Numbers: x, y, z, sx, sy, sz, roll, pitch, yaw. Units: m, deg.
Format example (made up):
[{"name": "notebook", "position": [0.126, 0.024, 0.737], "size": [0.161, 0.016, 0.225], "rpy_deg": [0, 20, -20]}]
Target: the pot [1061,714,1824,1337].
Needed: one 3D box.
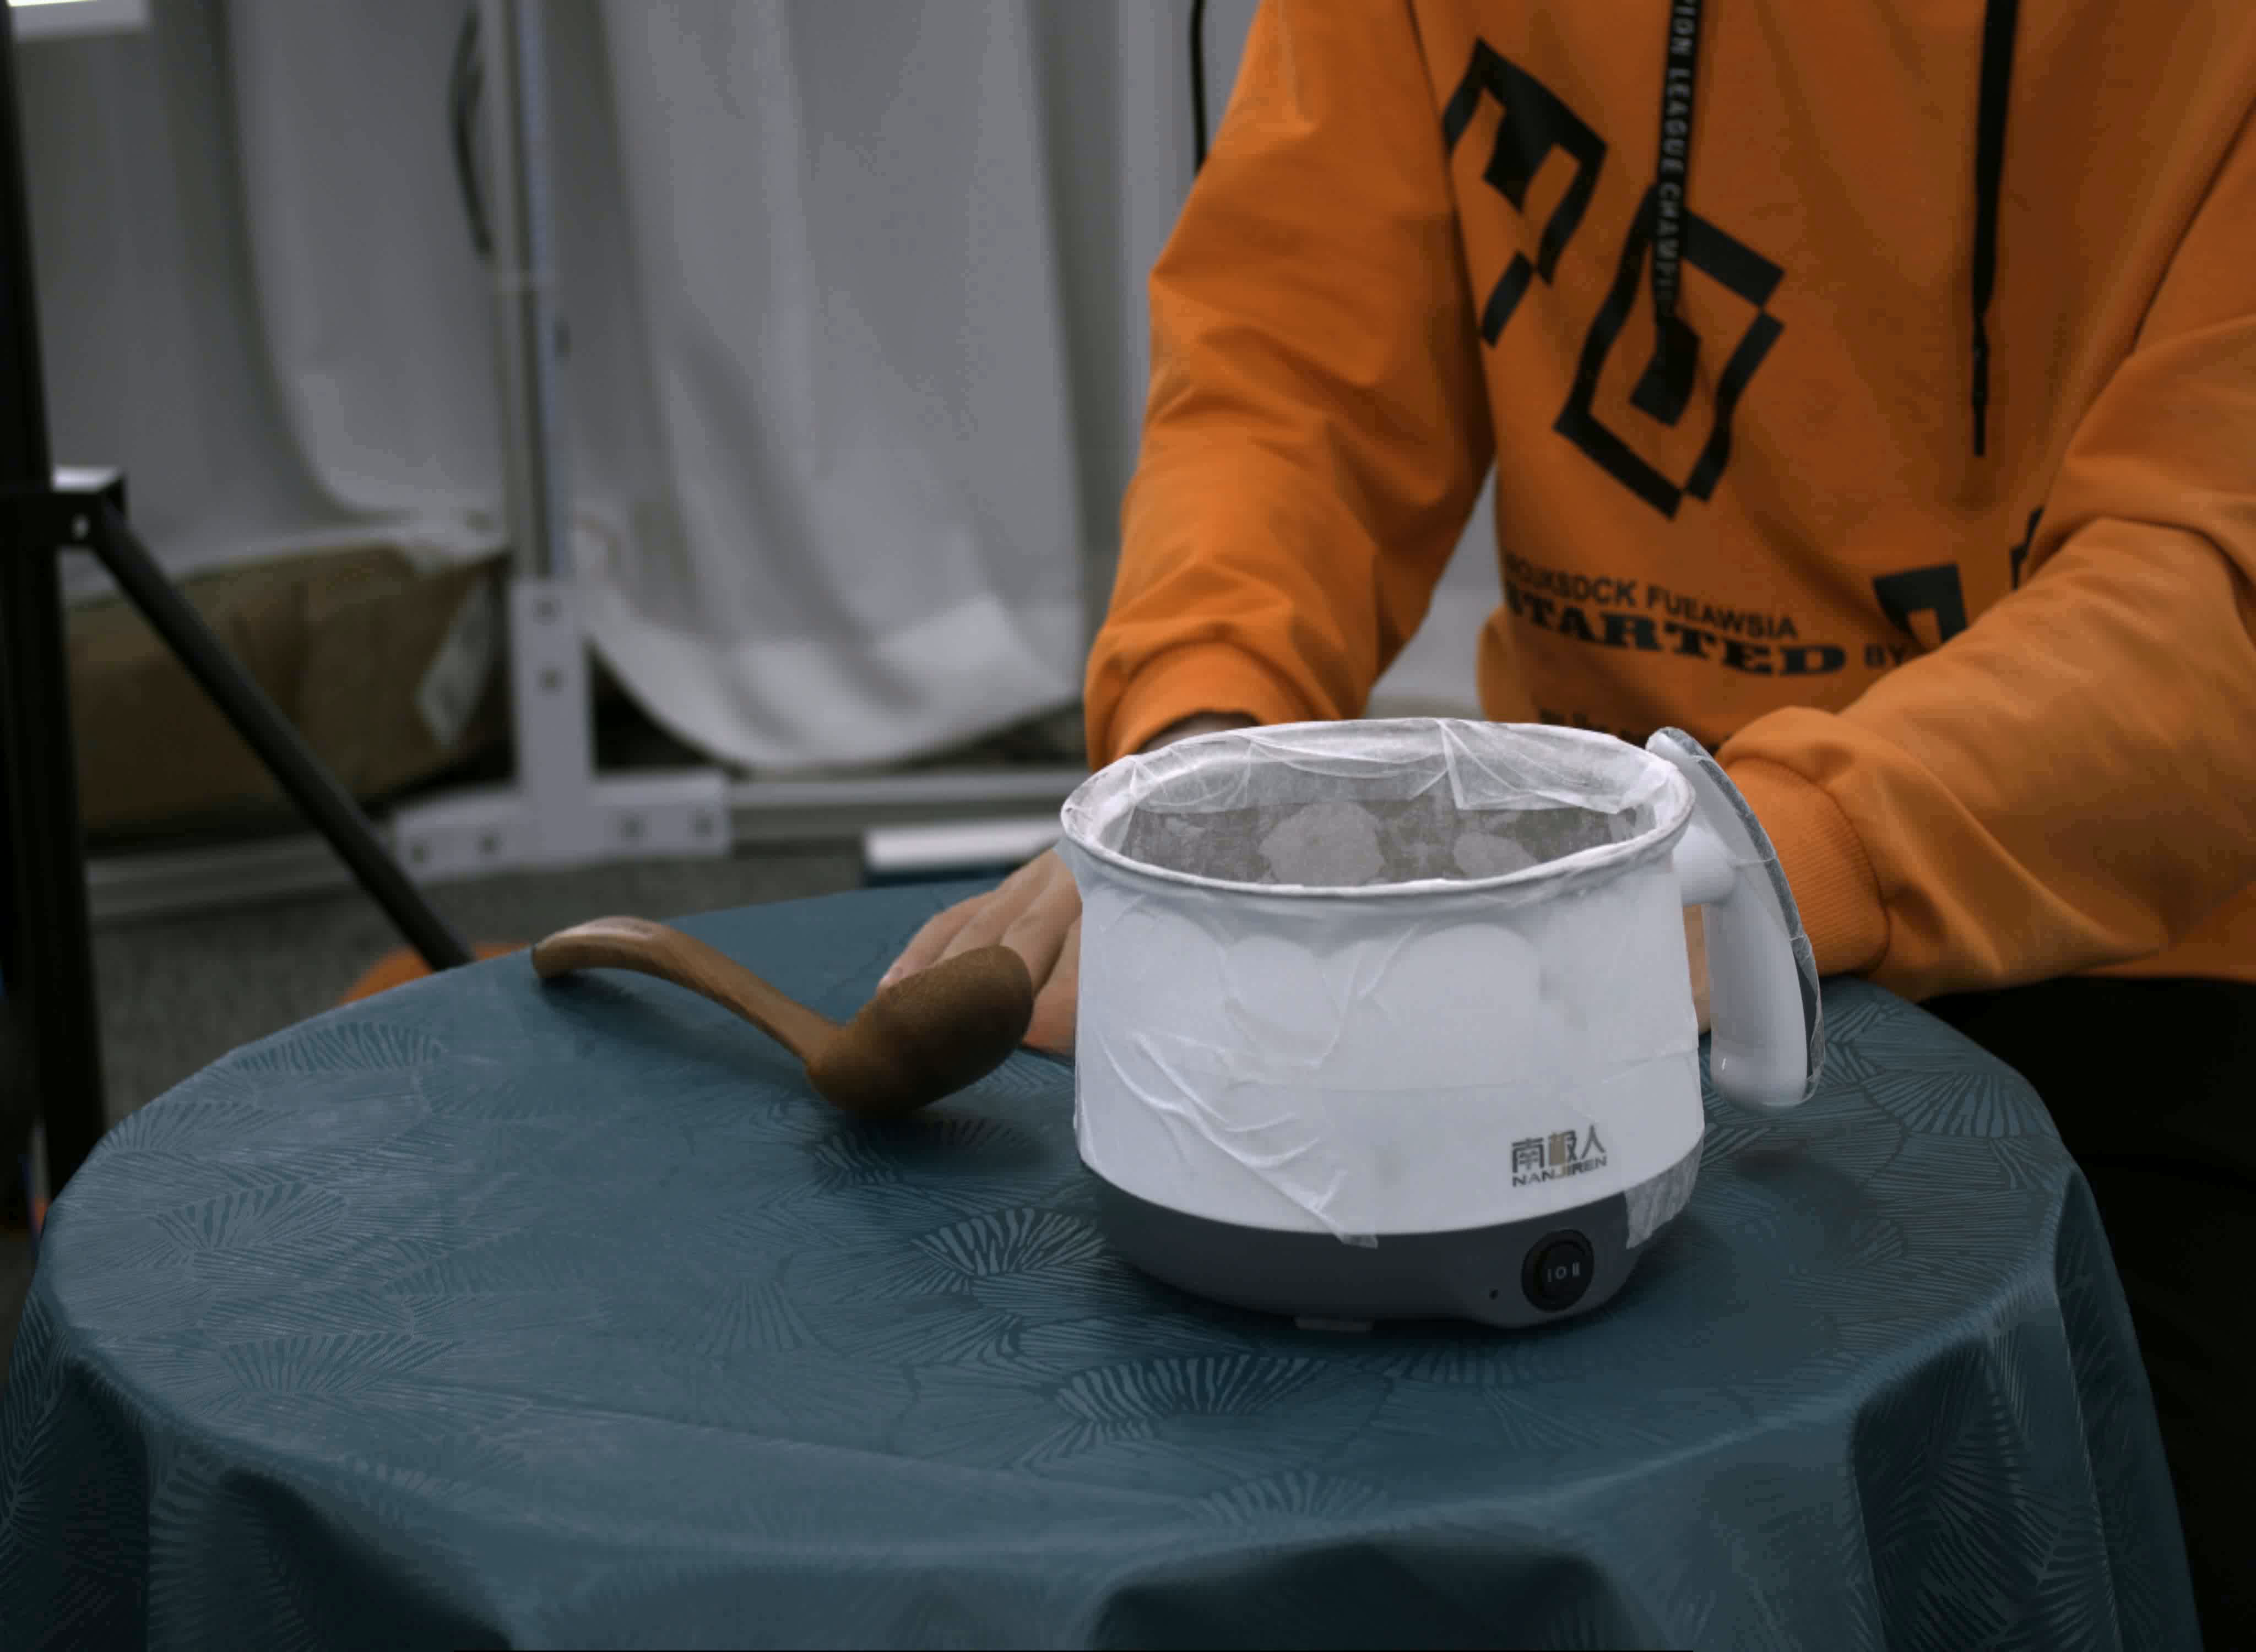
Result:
[{"name": "pot", "position": [0.096, 0.049, 1.498], "size": [0.228, 0.136, 0.182], "rpy_deg": [-11, 18, -28]}]

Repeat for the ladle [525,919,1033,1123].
[{"name": "ladle", "position": [-0.121, 0.044, 1.688], "size": [0.075, 0.065, 0.266], "rpy_deg": [-14, 19, -33]}]
